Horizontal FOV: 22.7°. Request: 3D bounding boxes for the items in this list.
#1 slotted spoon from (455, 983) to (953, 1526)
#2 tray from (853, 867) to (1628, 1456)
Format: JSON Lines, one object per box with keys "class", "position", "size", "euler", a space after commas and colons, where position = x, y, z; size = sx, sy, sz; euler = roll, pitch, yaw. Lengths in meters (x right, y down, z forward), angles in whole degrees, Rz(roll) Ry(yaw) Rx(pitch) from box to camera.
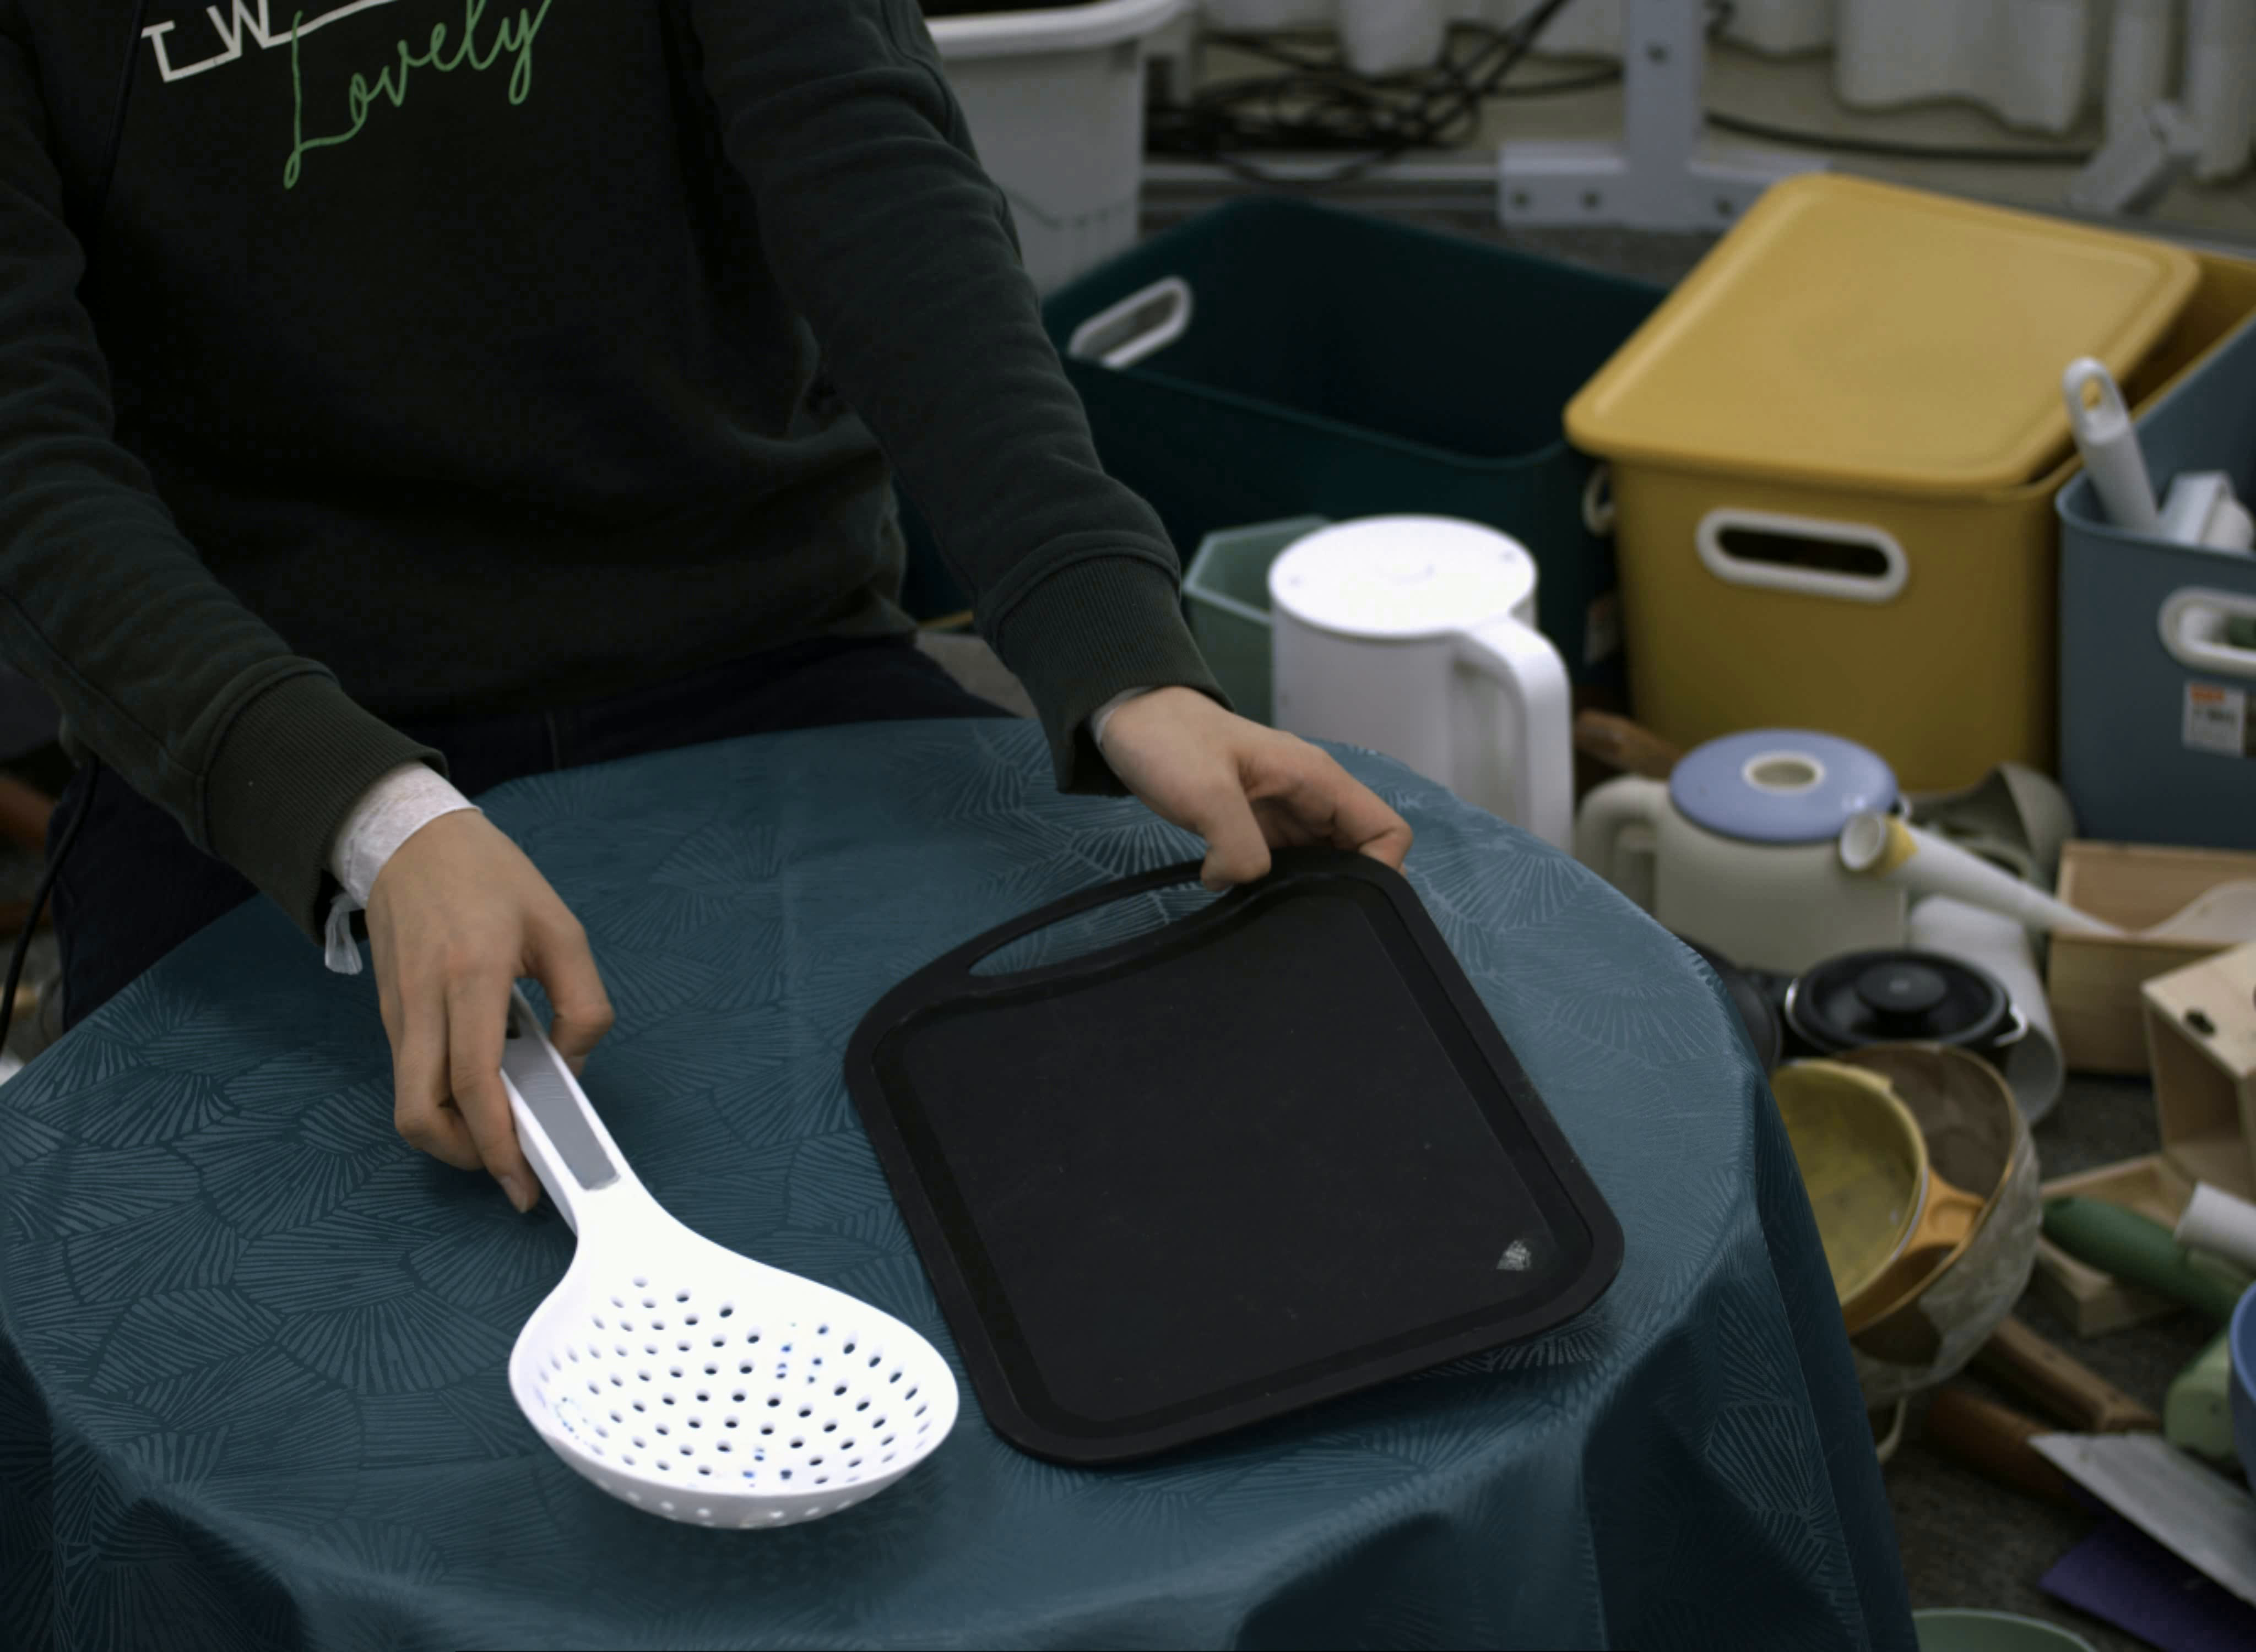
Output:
{"class": "slotted spoon", "position": [-0.160, 0.131, 1.792], "size": [0.136, 0.045, 0.353], "euler": [-2, 29, -22]}
{"class": "tray", "position": [0.027, 0.100, 1.859], "size": [0.211, 0.009, 0.329], "euler": [-16, 29, -7]}
